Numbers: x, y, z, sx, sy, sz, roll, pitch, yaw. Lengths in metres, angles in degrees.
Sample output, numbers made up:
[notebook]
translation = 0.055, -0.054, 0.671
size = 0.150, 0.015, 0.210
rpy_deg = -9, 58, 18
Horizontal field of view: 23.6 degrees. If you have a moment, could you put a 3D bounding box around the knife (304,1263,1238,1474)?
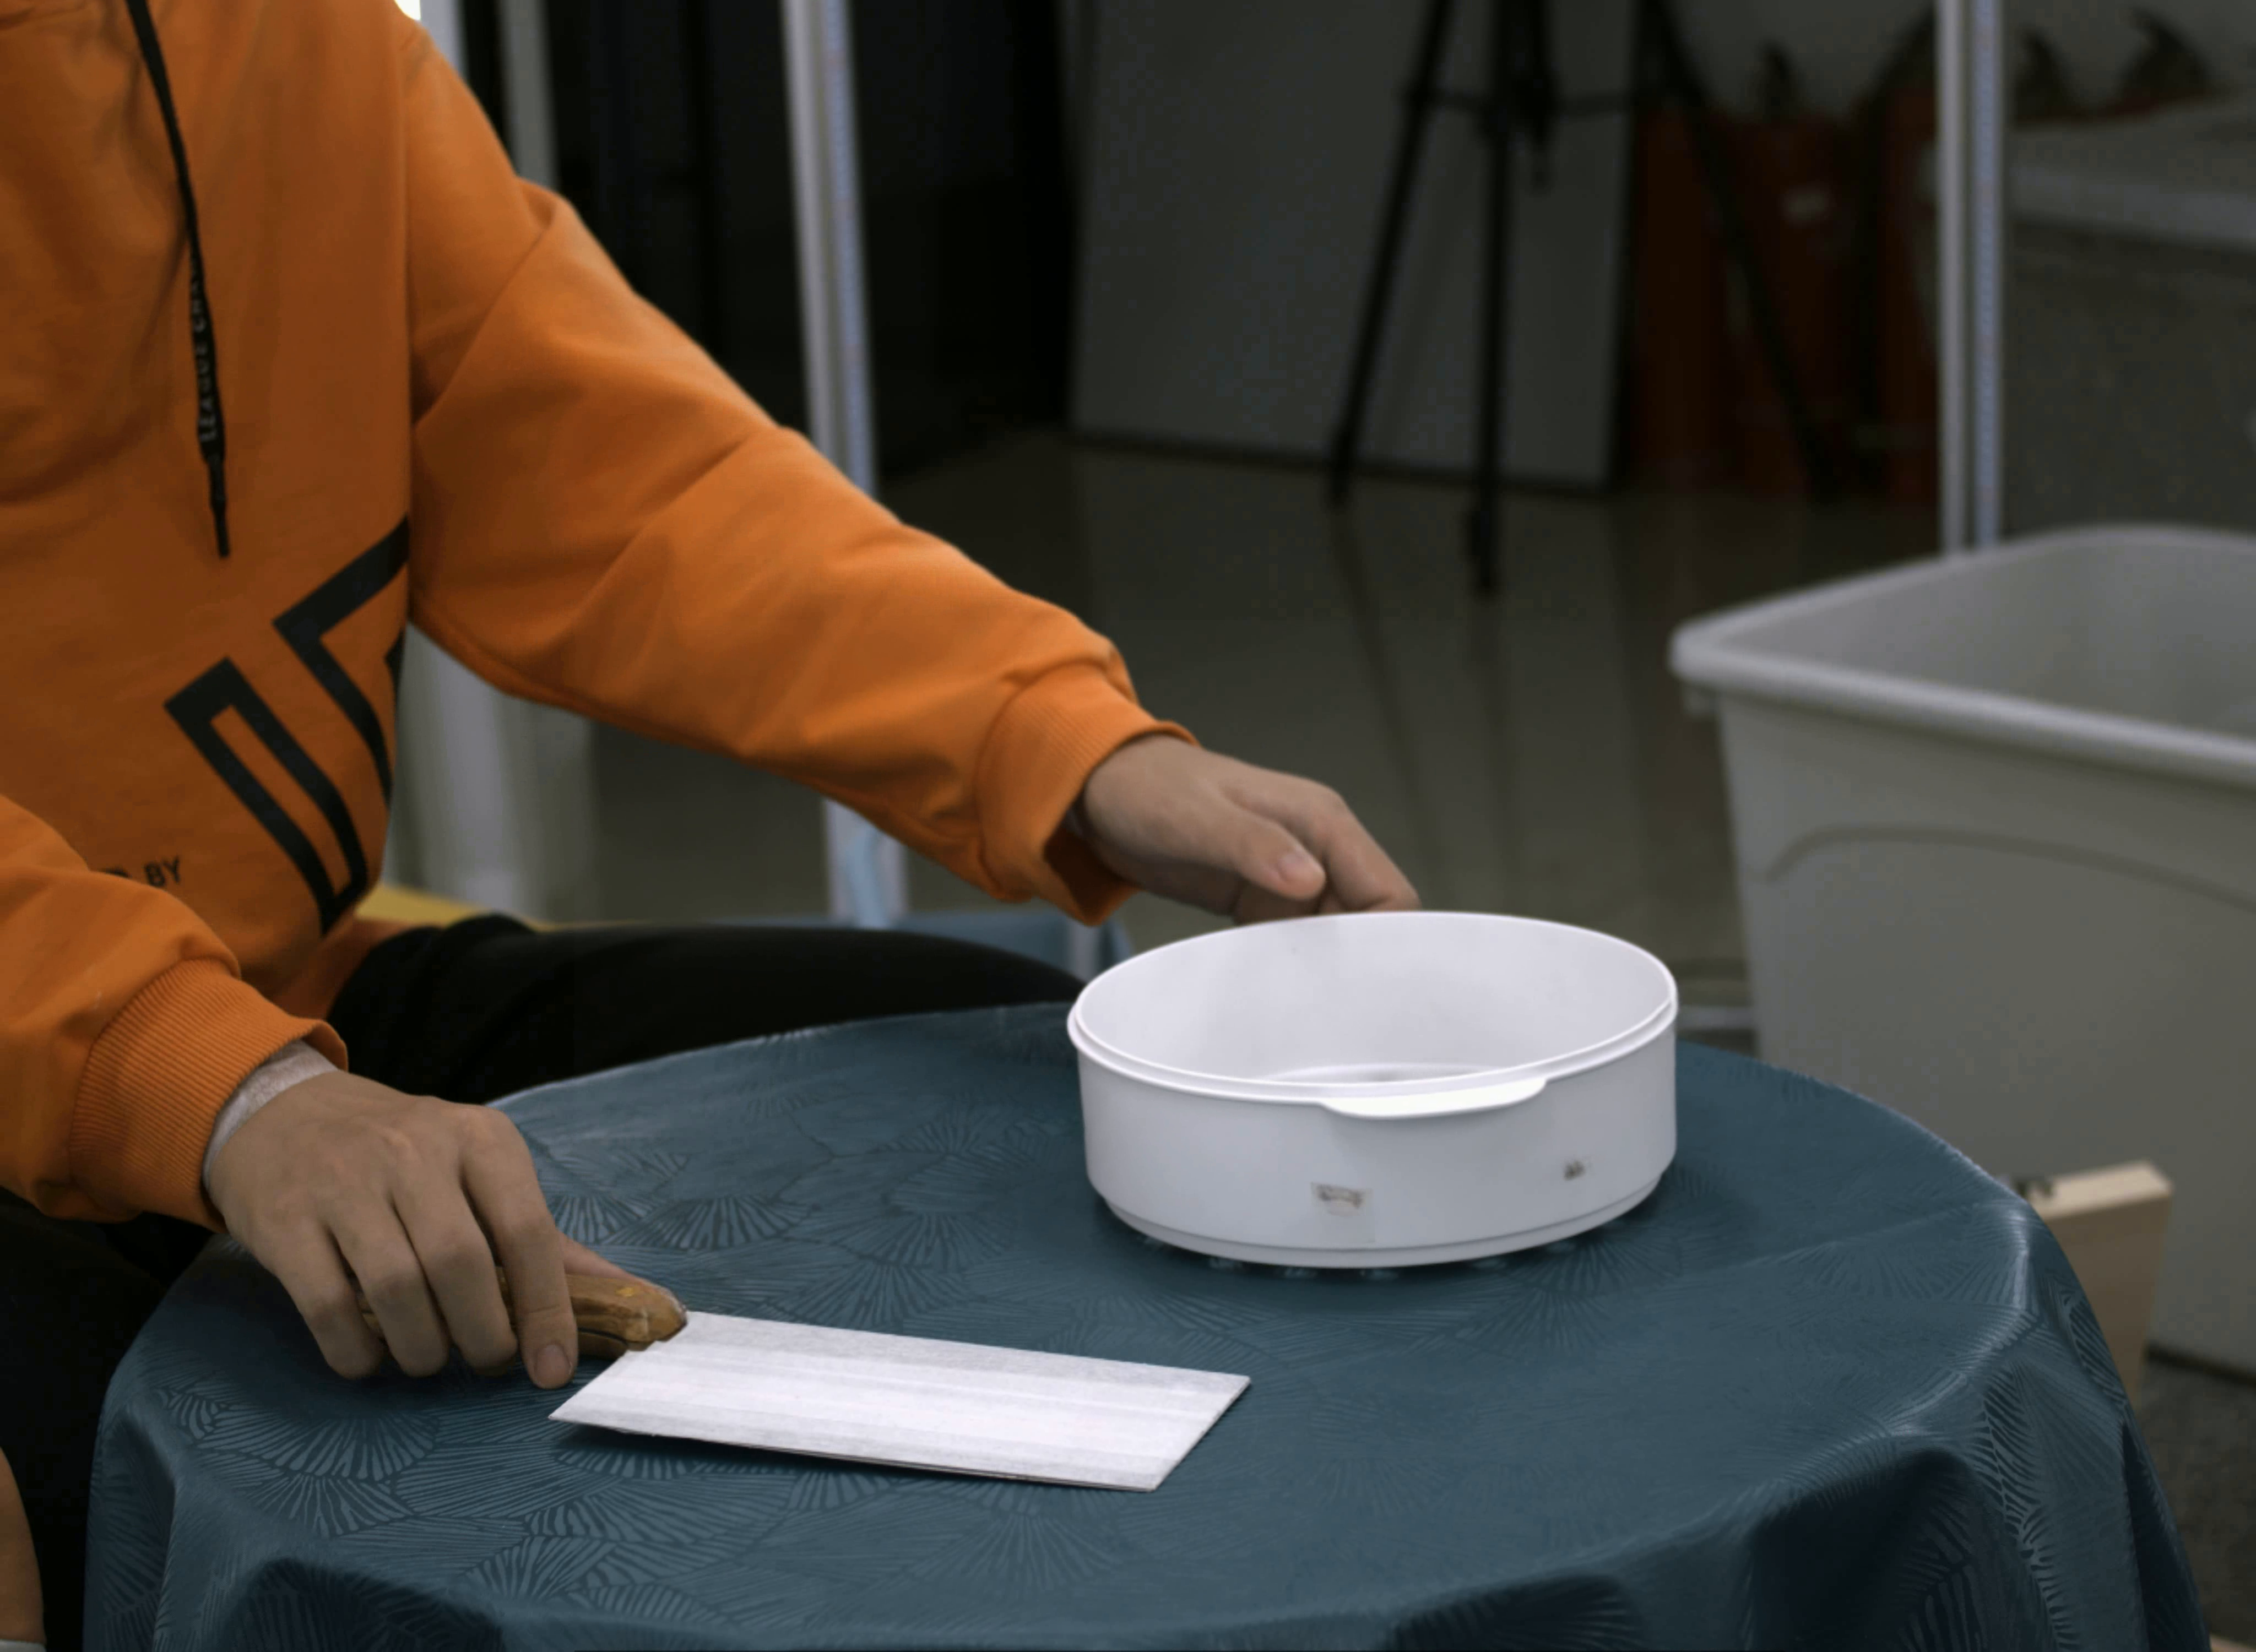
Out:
[knife]
translation = -0.118, 0.164, 1.601
size = 0.305, 0.021, 0.092
rpy_deg = 4, 17, 22

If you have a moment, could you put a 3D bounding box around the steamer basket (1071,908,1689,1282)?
[steamer basket]
translation = 0.083, 0.087, 1.742
size = 0.198, 0.070, 0.232
rpy_deg = -7, 16, -7
